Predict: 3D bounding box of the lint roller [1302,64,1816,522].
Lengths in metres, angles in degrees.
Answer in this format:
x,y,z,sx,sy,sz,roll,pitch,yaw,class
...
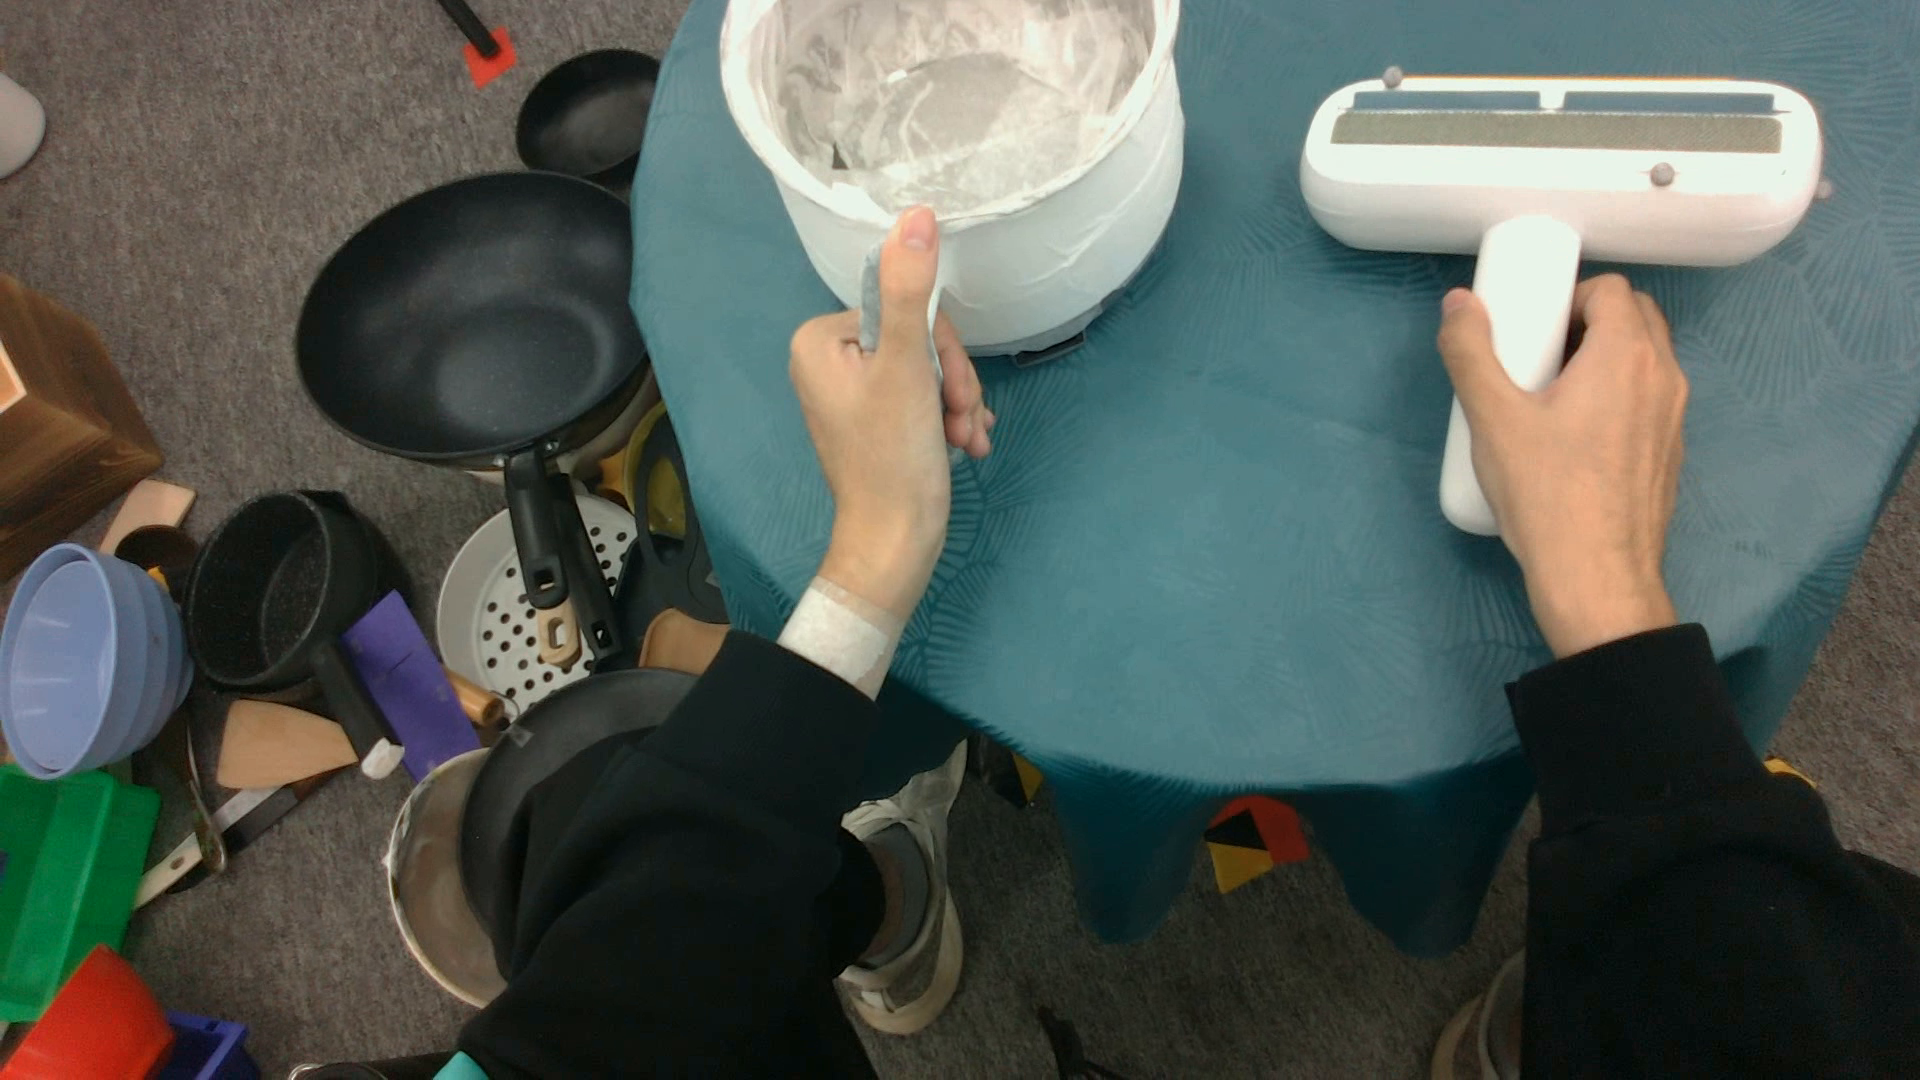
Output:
x,y,z,sx,sy,sz,roll,pitch,yaw,class
0.220,-0.102,0.553,0.192,0.074,0.193,14,72,21,lint roller

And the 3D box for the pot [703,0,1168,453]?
x,y,z,sx,sy,sz,roll,pitch,yaw,class
-0.007,-0.159,0.576,0.178,0.136,0.234,7,73,13,pot
